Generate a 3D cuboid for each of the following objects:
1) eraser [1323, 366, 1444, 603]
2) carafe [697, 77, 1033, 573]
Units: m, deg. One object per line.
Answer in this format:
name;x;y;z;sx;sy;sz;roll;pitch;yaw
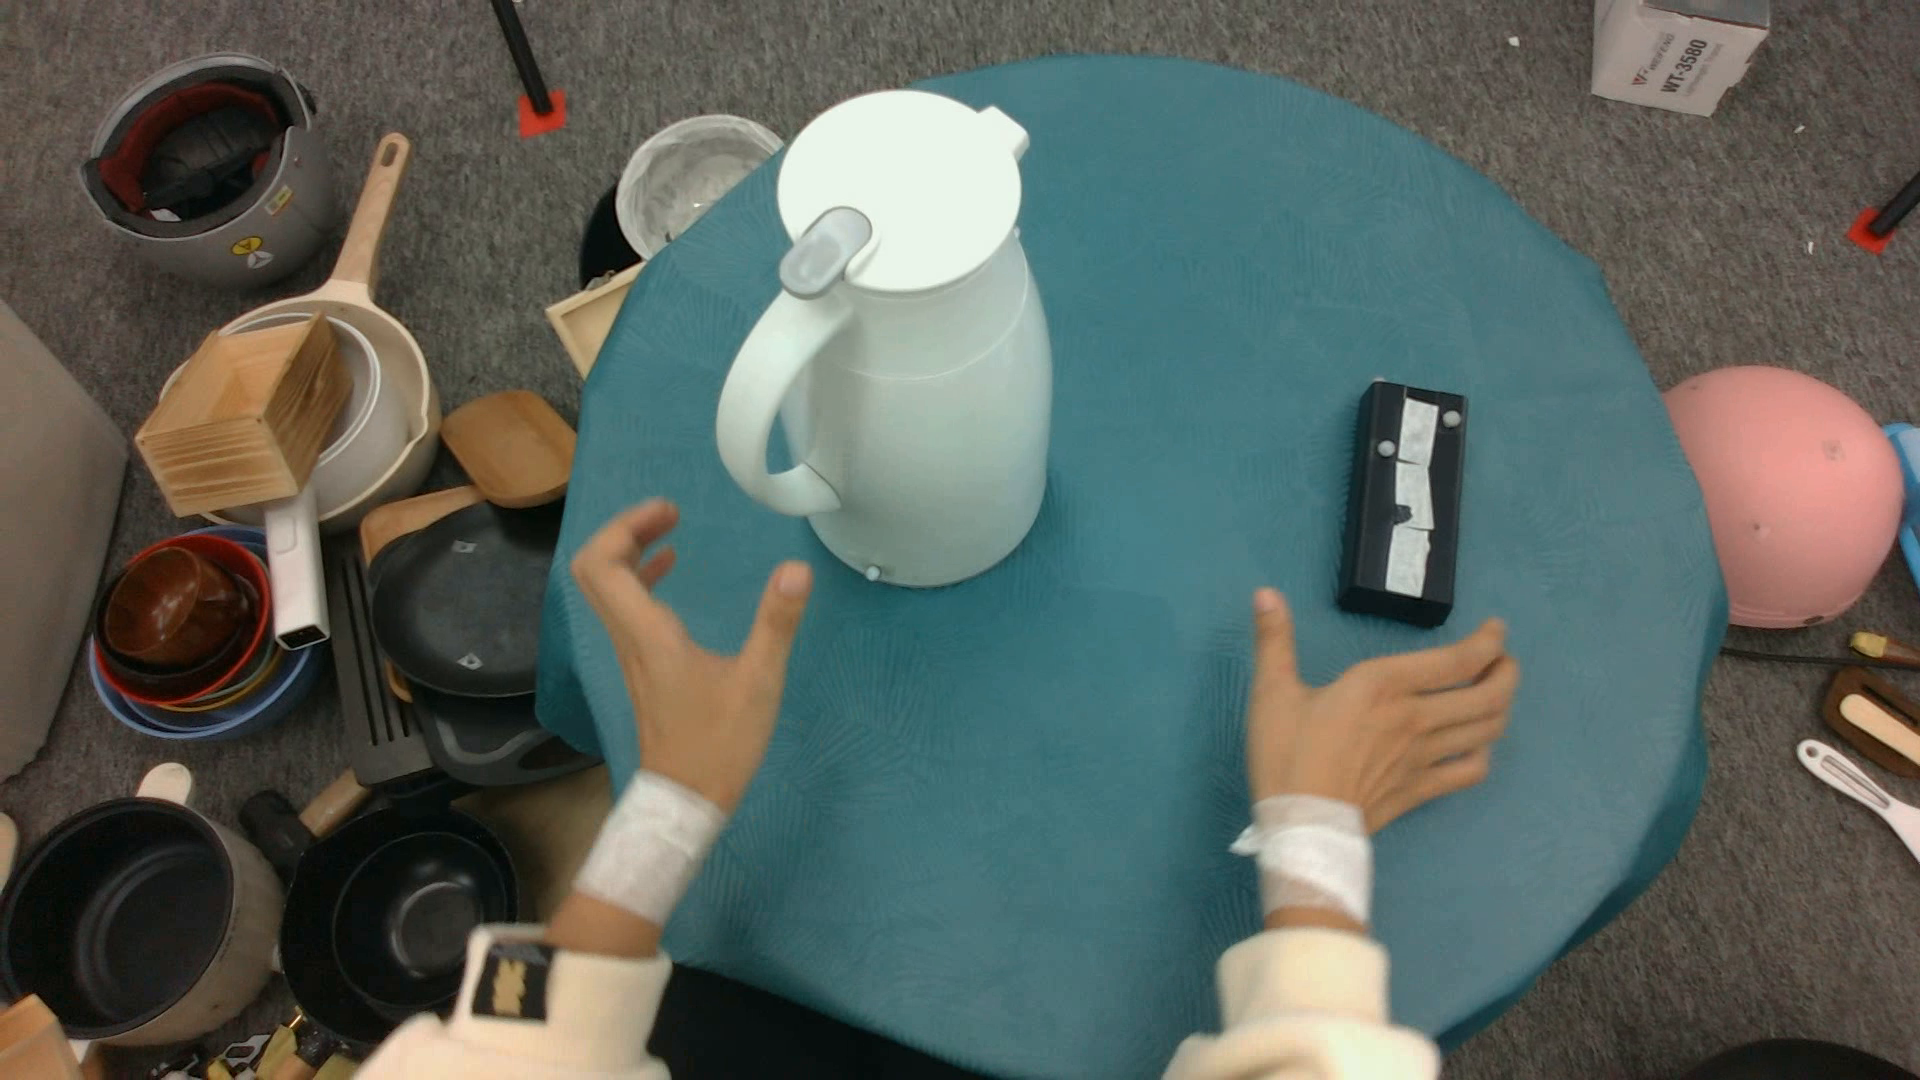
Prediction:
eraser;0.220;-0.031;0.718;0.053;0.030;0.126;9;66;5
carafe;-0.043;-0.078;0.615;0.132;0.247;0.168;40;72;15
